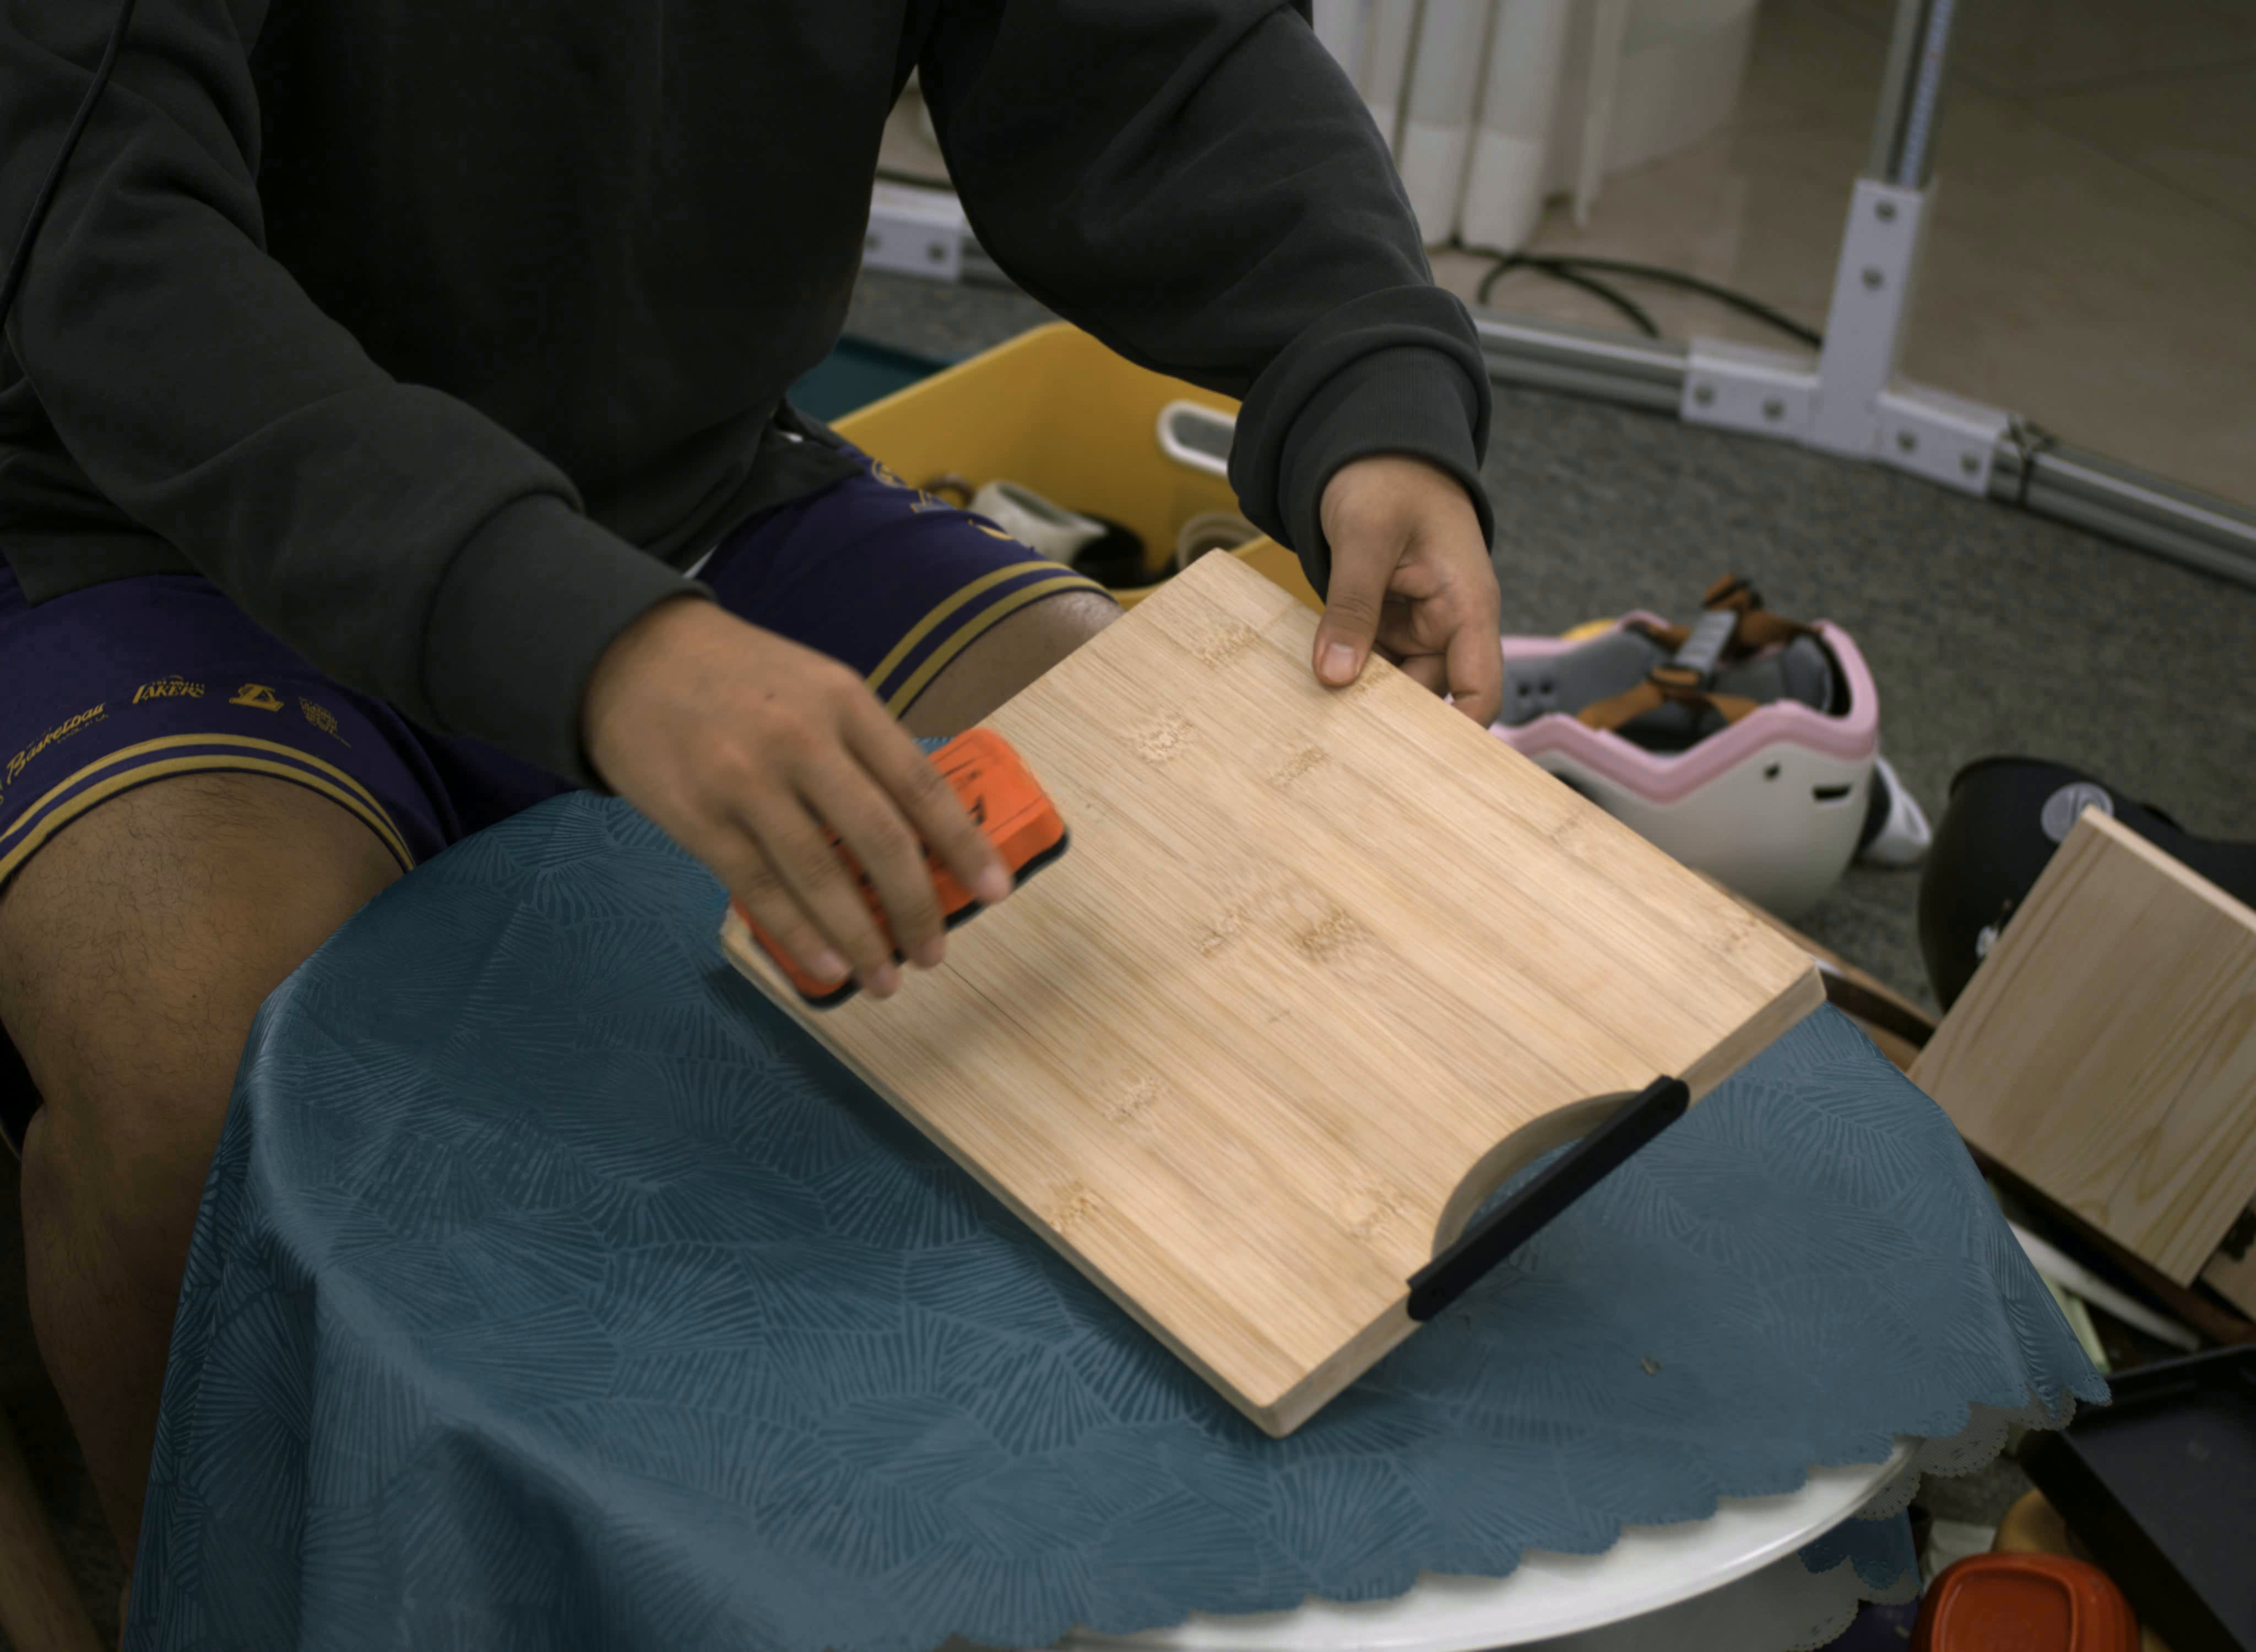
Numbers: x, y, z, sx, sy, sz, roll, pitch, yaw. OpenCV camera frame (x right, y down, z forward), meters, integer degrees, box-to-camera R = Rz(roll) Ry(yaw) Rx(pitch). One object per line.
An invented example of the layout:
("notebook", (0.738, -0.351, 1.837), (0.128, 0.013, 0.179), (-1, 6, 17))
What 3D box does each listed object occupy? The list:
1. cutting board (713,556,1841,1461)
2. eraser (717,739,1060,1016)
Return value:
("cutting board", (0.042, 0.049, 1.815), (0.250, 0.023, 0.352), (-38, 43, -15))
("eraser", (-0.081, 0.017, 1.784), (0.108, 0.022, 0.059), (-32, 43, -10))
